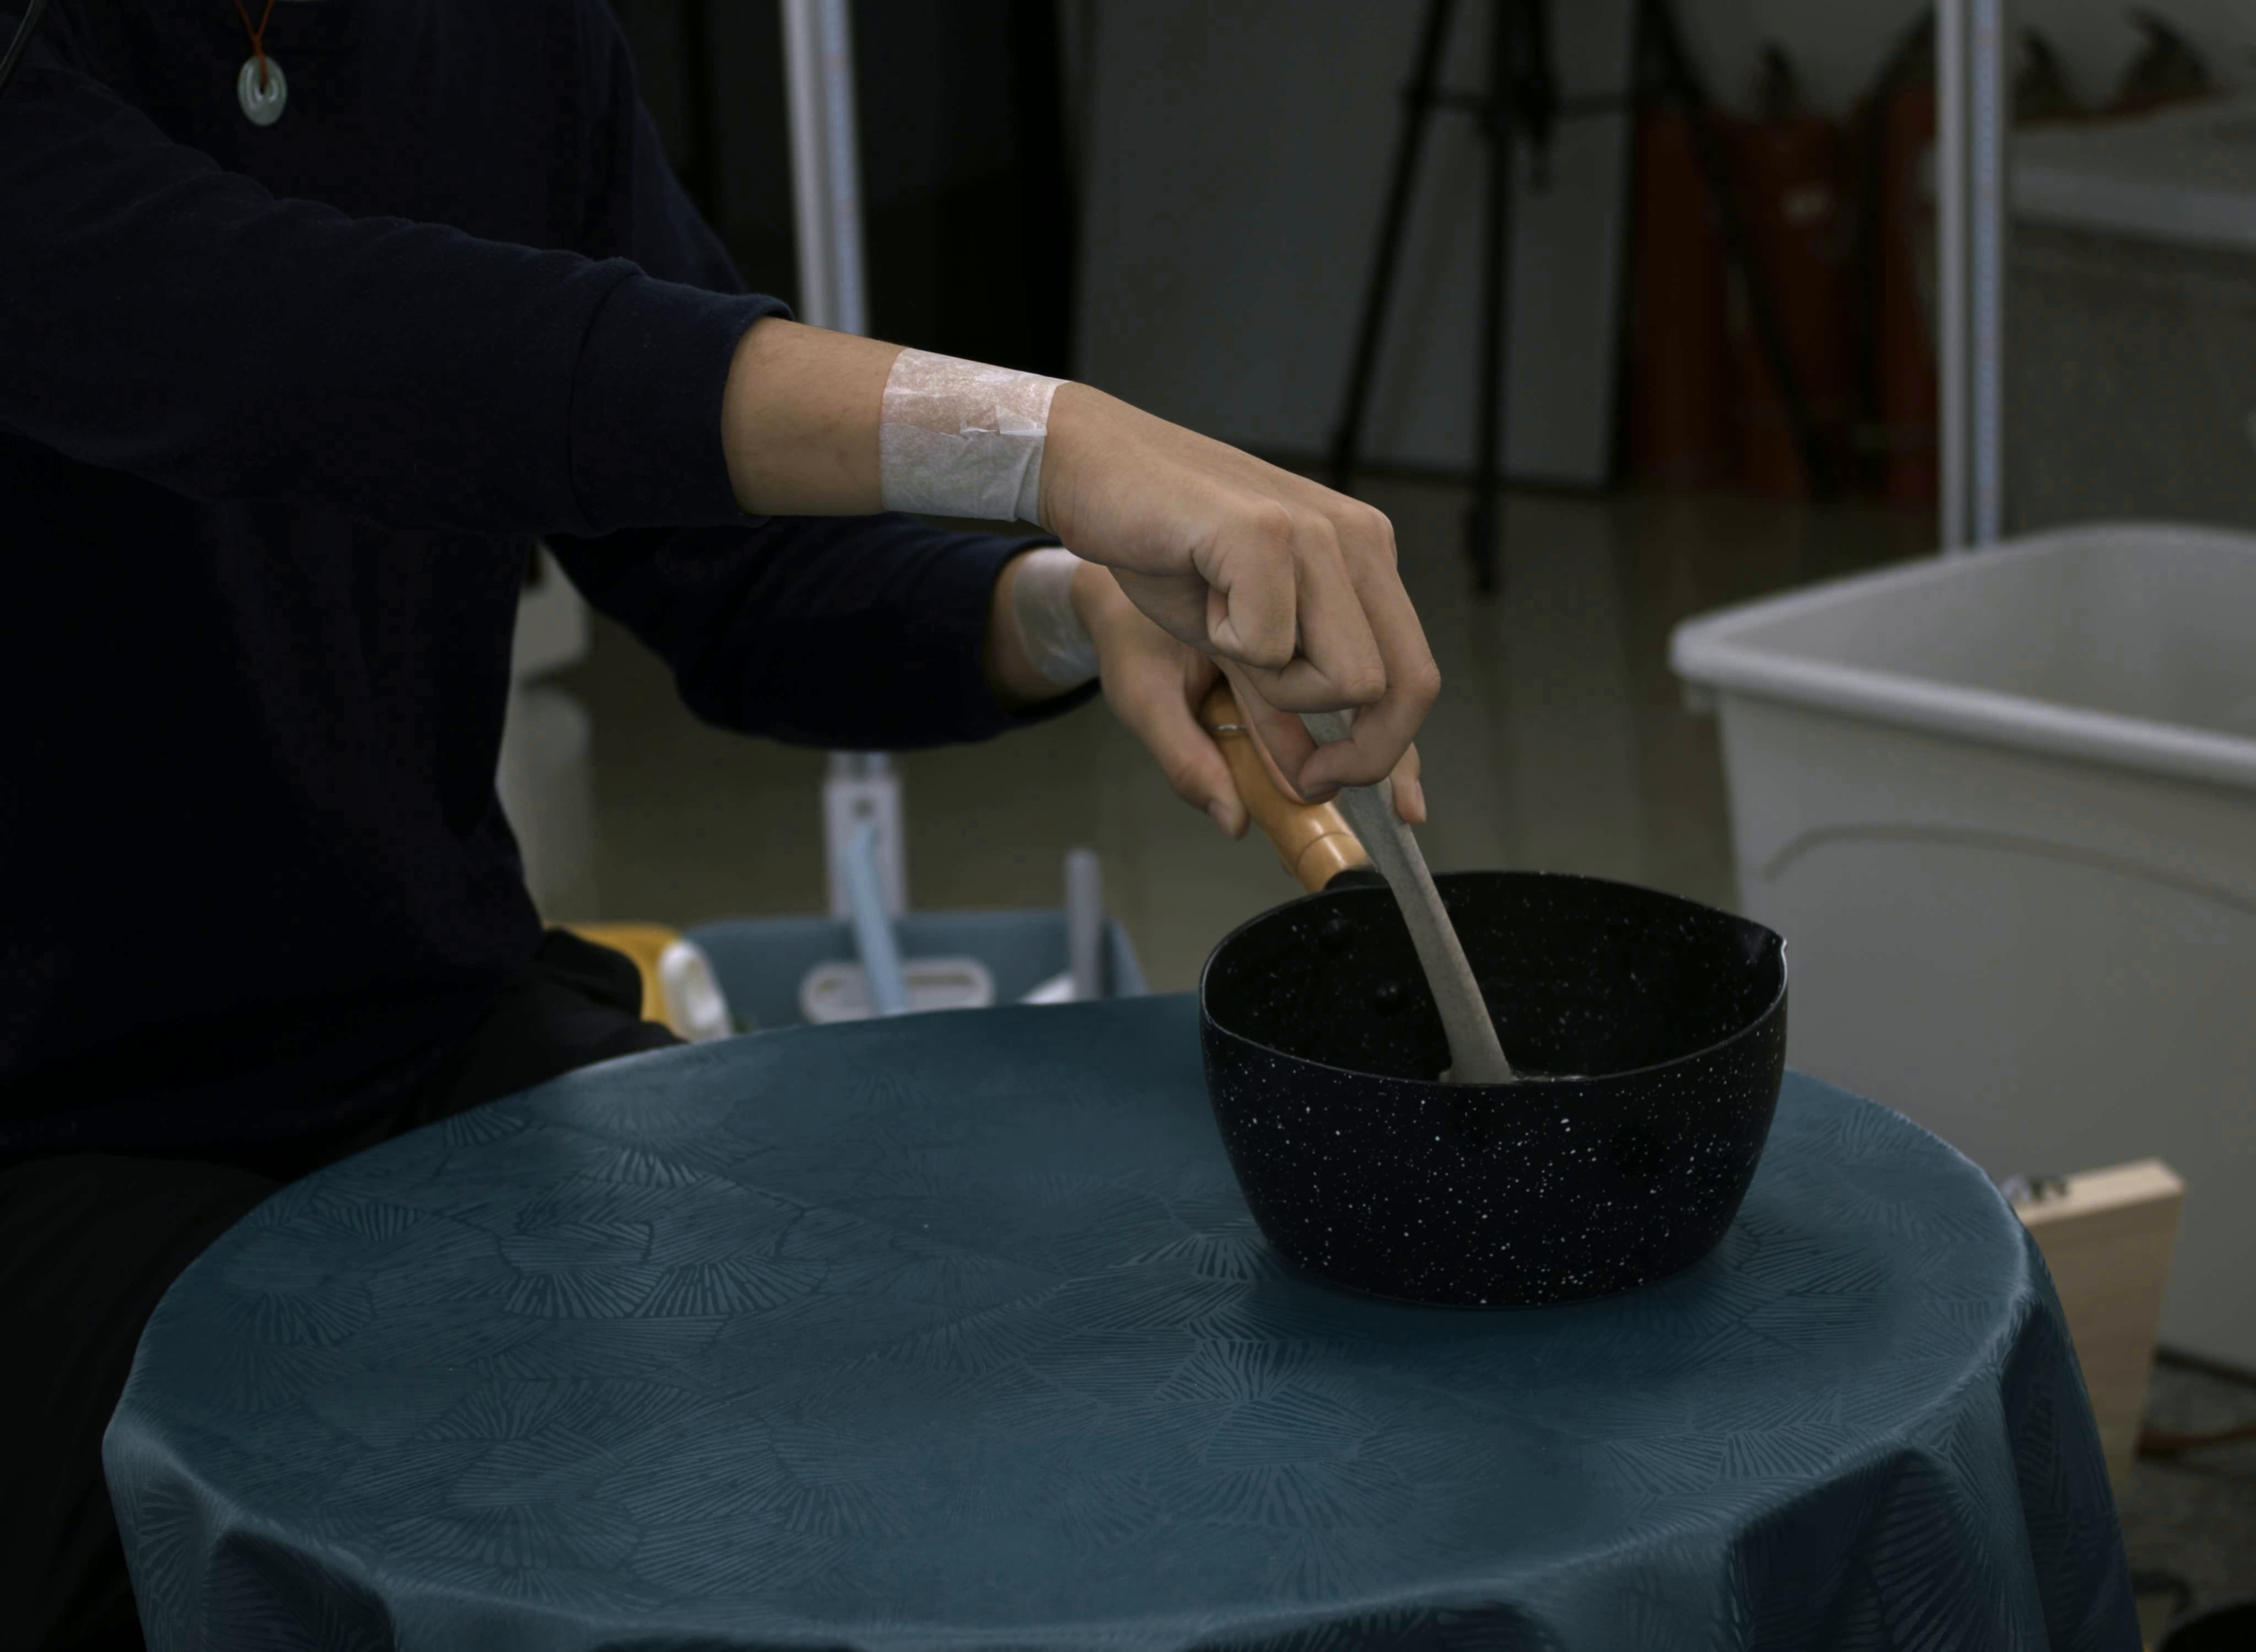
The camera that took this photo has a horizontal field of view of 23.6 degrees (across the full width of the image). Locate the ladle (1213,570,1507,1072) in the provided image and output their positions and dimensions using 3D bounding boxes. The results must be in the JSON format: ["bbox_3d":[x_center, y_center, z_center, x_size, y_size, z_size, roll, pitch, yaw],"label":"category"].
[{"bbox_3d":[0.099,0.009,1.637,0.069,0.274,0.090,-40,37,-20],"label":"ladle"}]

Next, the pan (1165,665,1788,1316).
[{"bbox_3d":[0.086,0.048,1.755,0.203,0.109,0.346,-10,22,-18],"label":"pan"}]
